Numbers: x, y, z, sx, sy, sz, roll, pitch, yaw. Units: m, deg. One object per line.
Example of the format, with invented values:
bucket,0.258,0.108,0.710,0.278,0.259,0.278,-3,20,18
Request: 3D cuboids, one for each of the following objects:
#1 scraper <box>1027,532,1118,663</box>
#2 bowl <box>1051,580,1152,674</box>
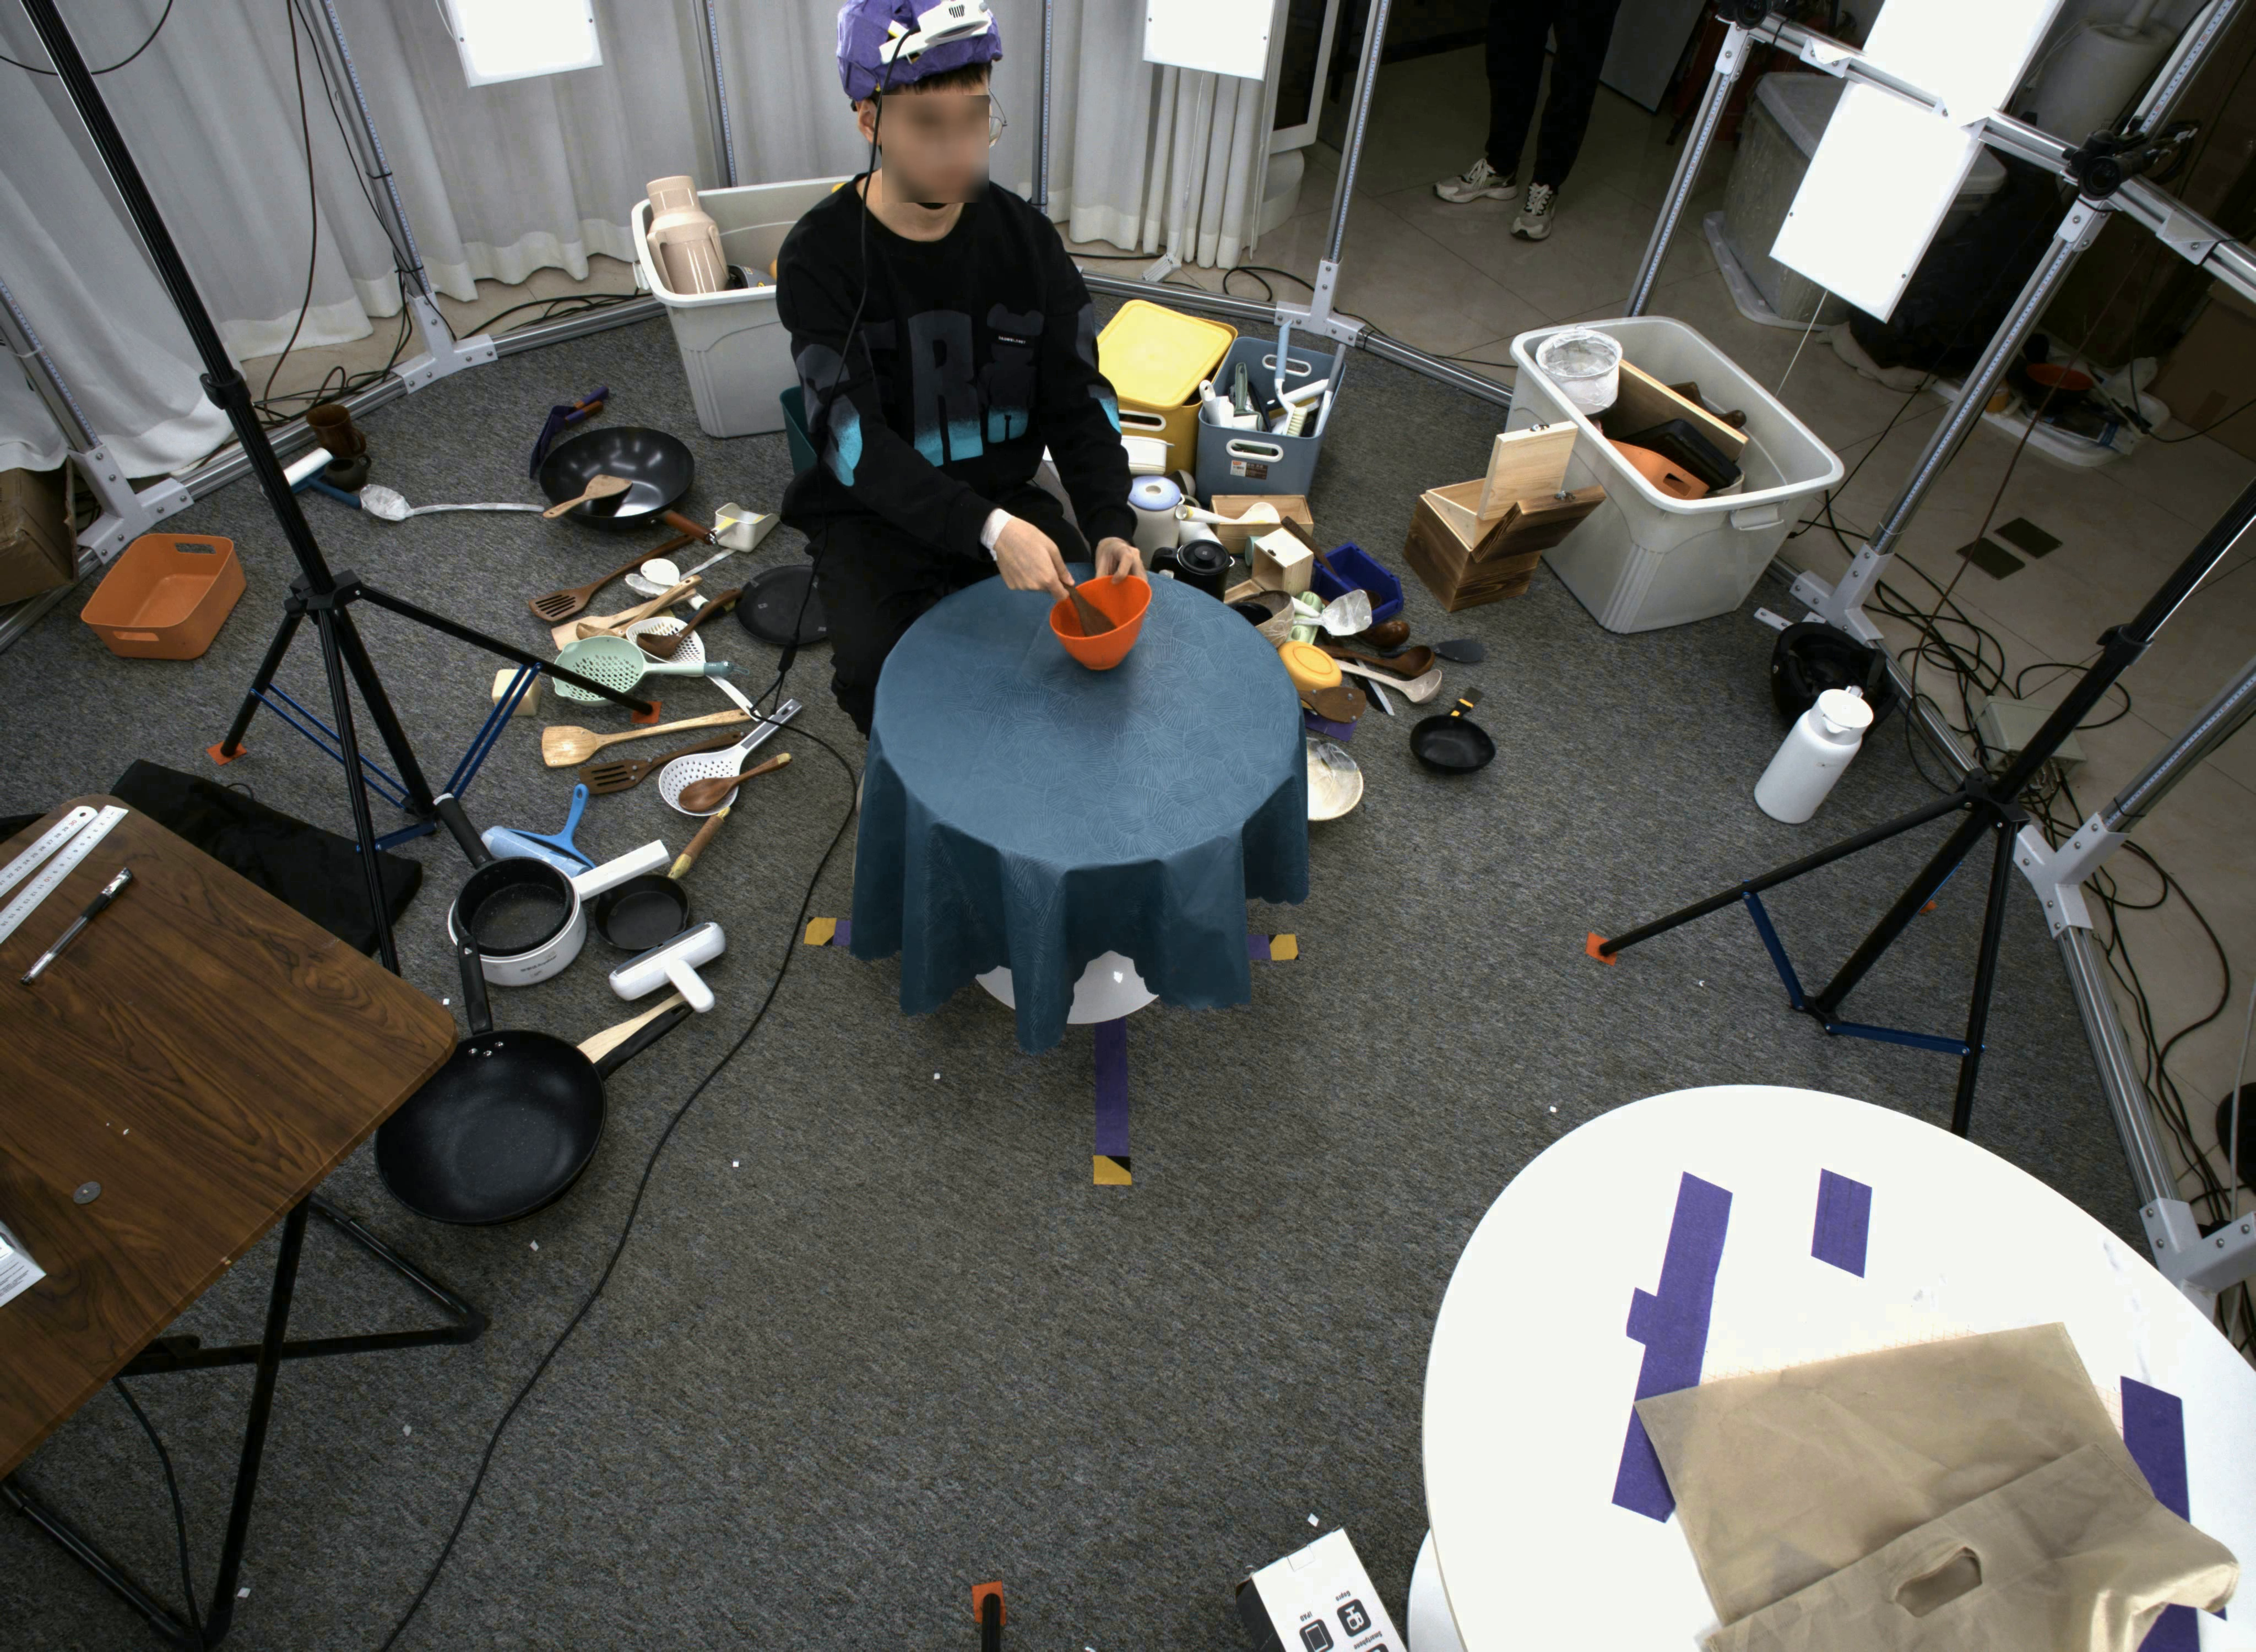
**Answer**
scraper,-0.077,-0.327,1.829,0.209,0.011,0.077,54,40,-12
bowl,-0.032,-0.276,1.839,0.148,0.102,0.152,-6,44,6
